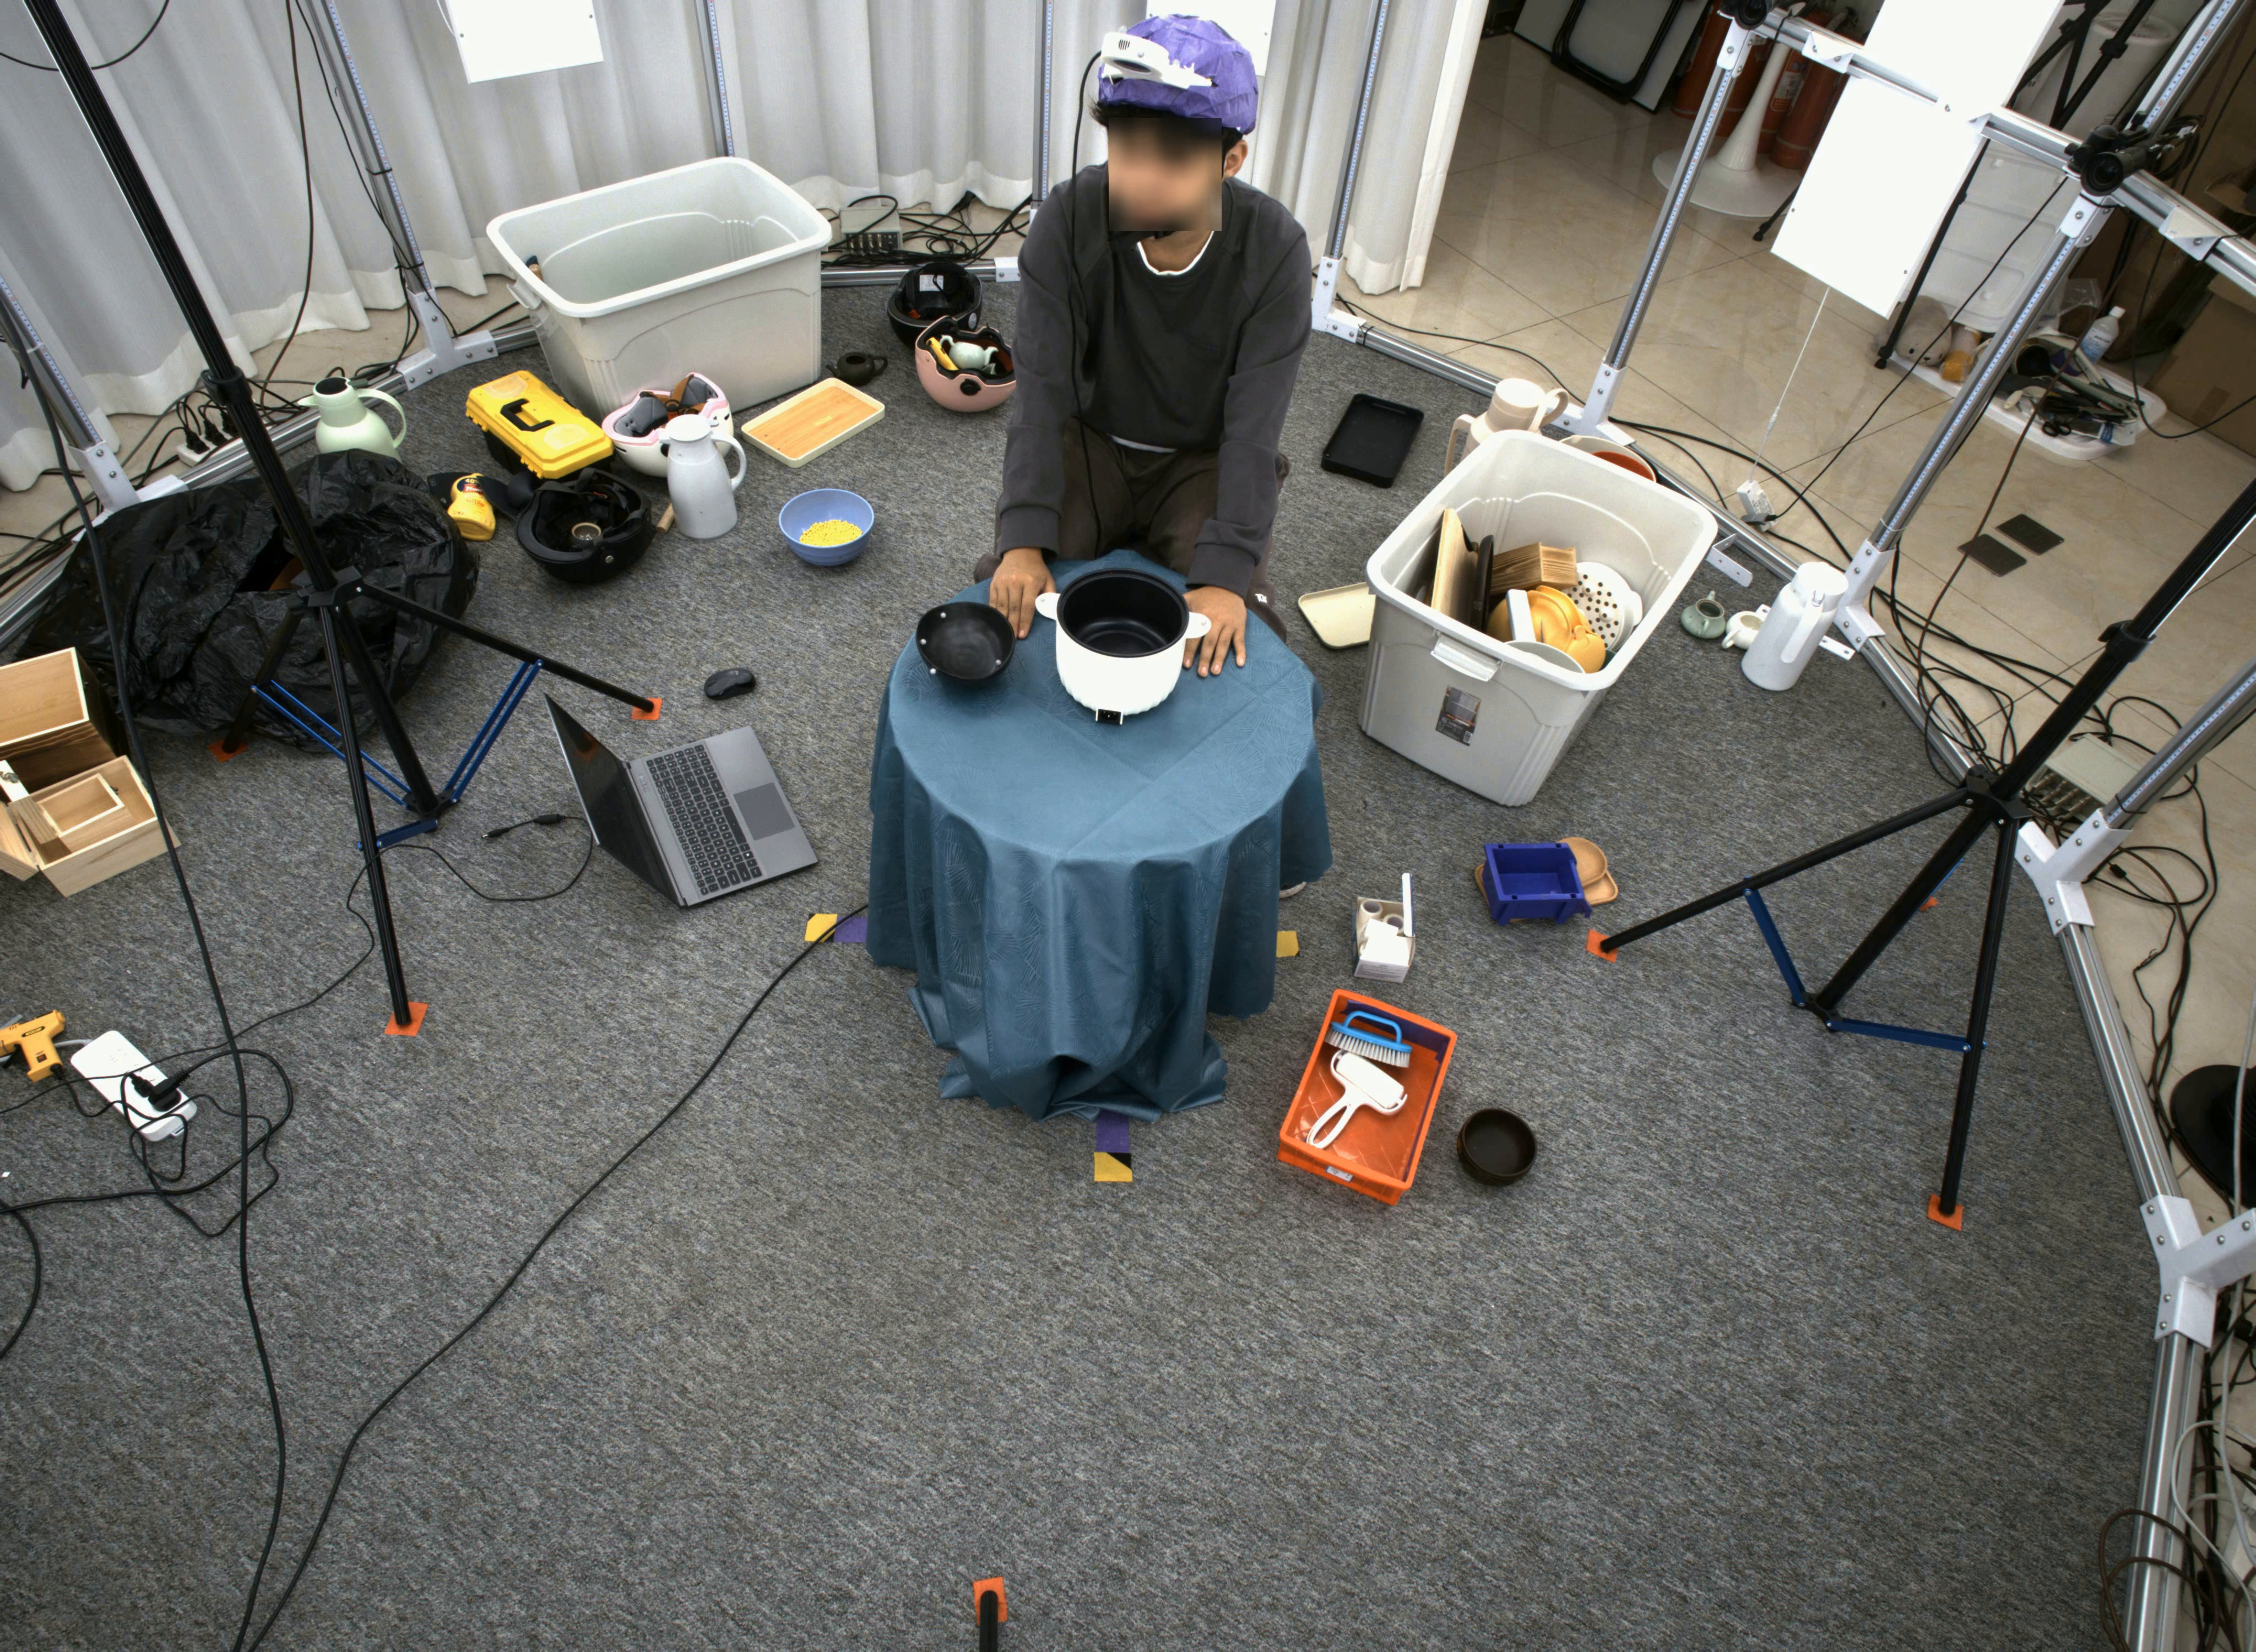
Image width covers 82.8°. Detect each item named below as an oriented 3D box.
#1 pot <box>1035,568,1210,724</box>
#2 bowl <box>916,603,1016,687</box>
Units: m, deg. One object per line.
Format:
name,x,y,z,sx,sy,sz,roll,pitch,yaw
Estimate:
pot,-0.012,-0.254,1.796,0.240,0.139,0.195,8,52,1
bowl,-0.228,-0.248,1.822,0.137,0.065,0.174,-9,49,-12
